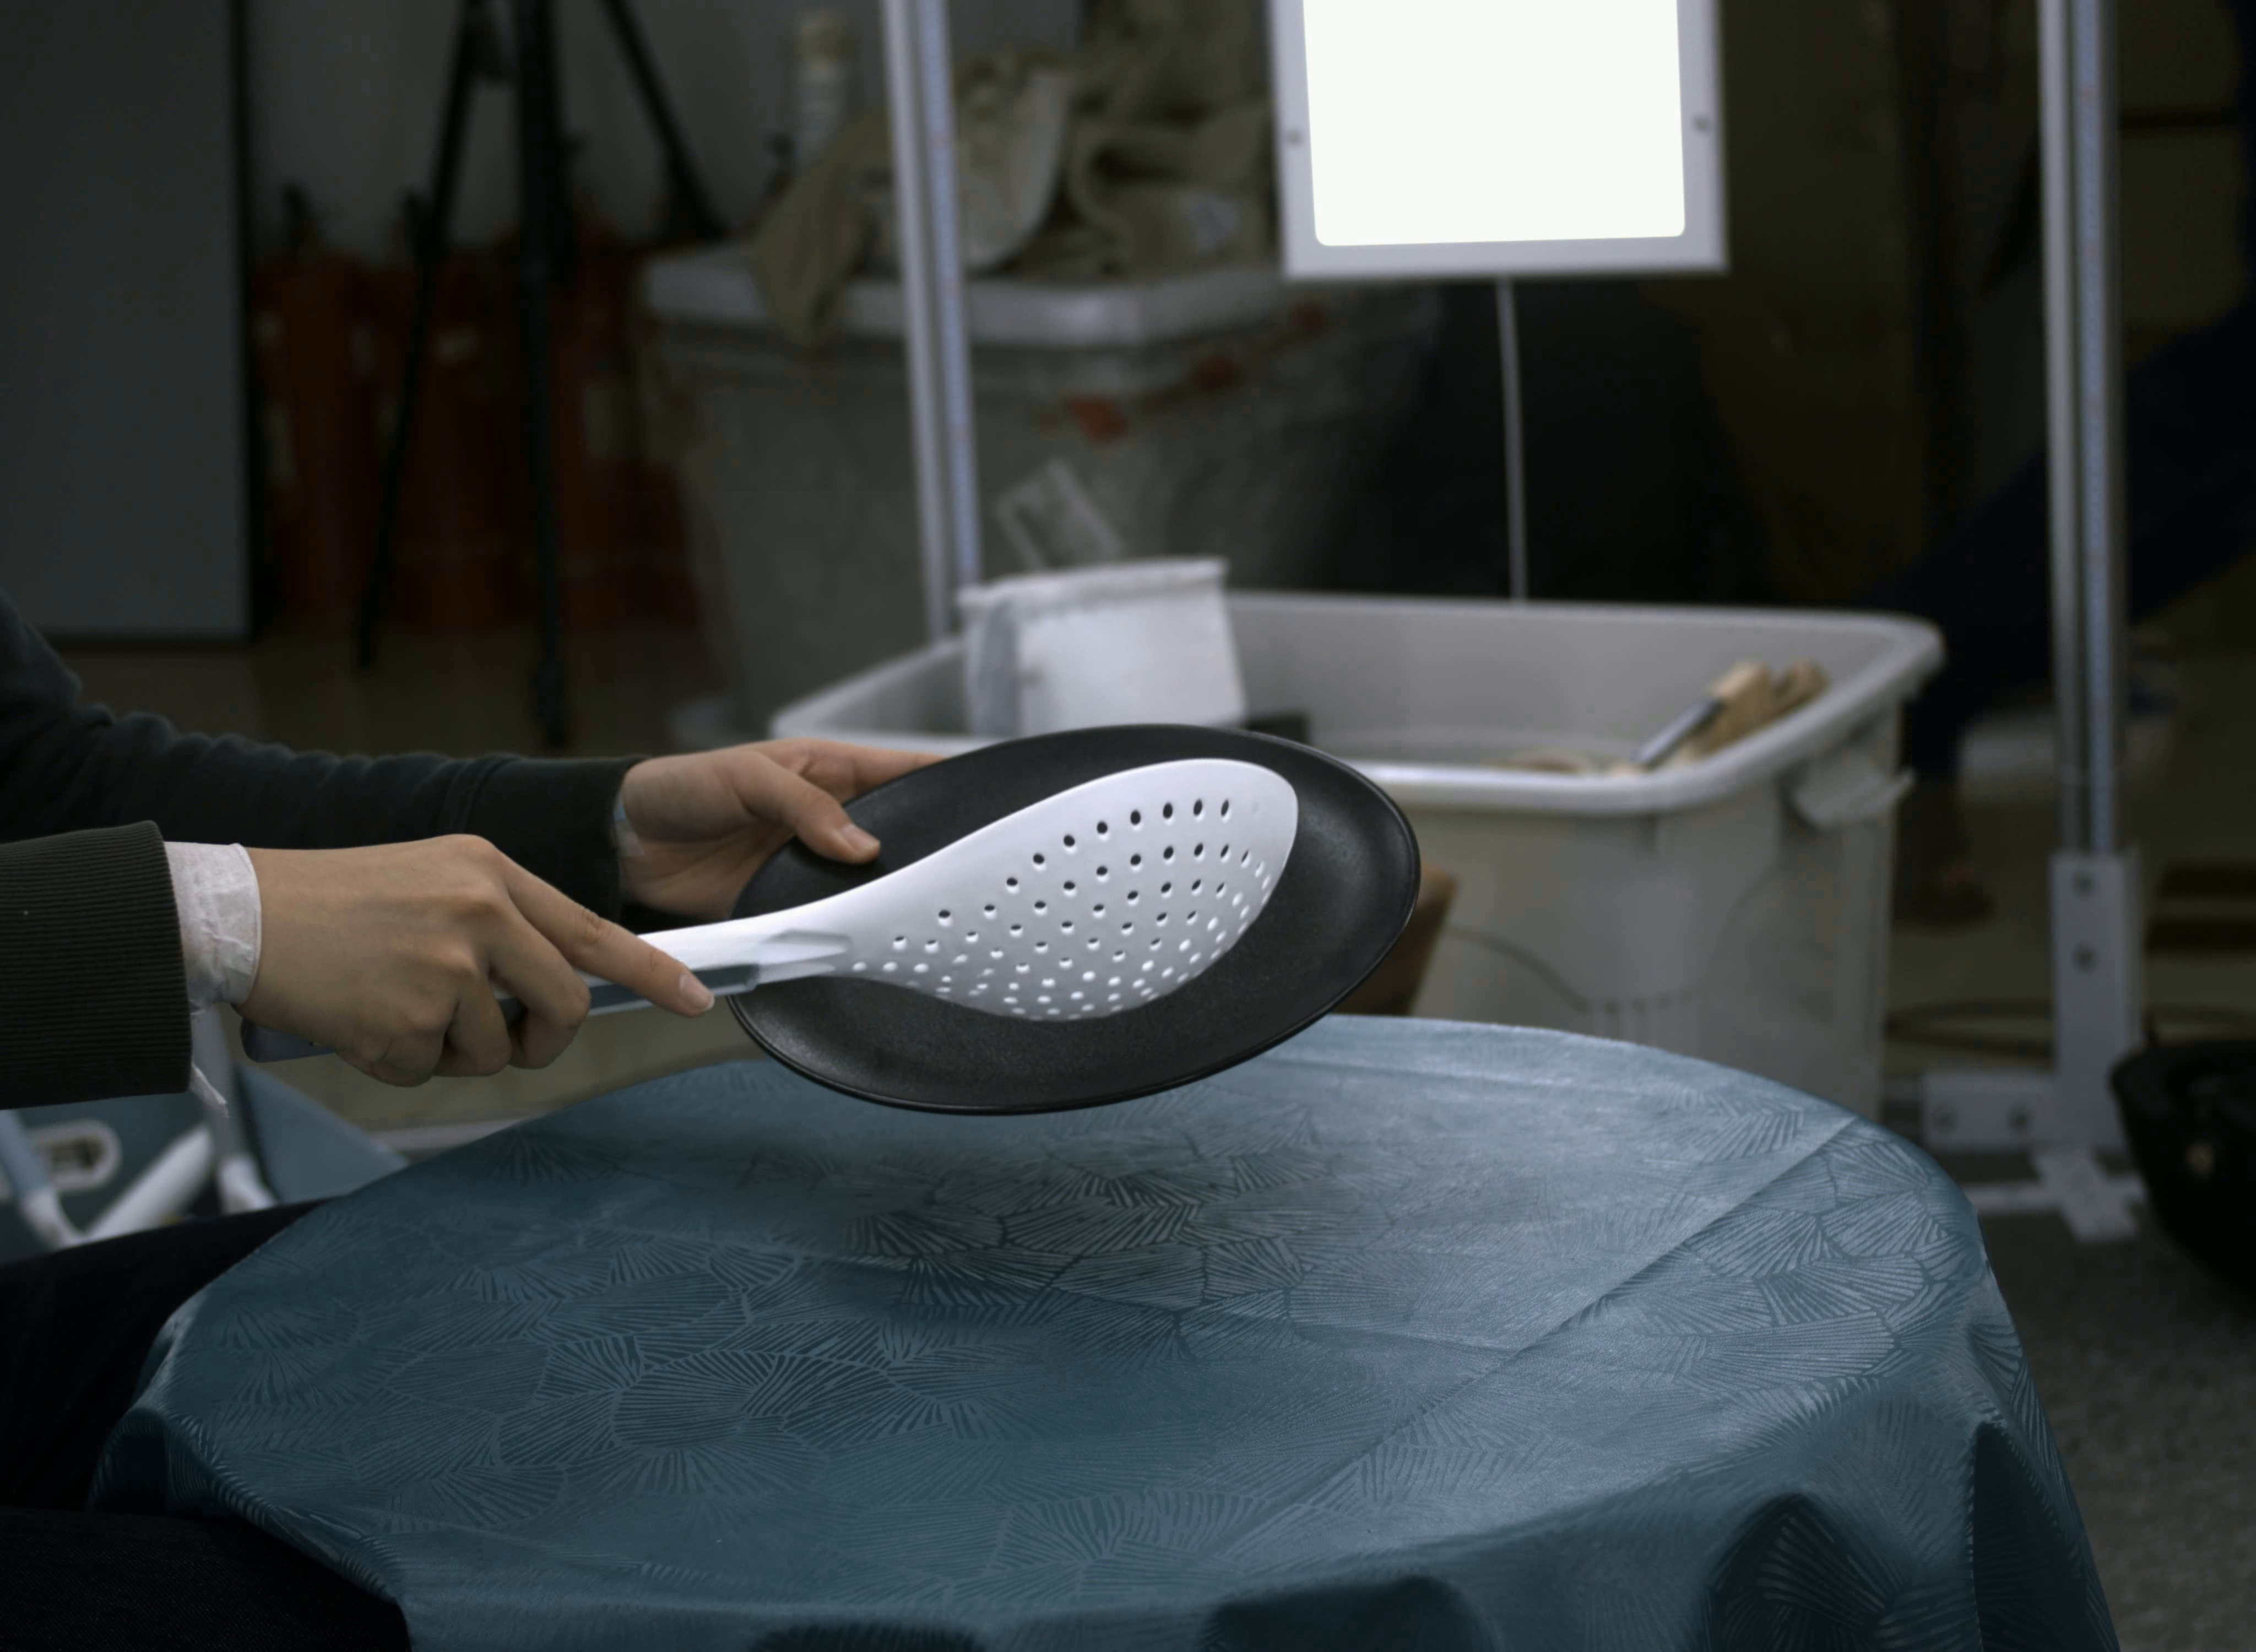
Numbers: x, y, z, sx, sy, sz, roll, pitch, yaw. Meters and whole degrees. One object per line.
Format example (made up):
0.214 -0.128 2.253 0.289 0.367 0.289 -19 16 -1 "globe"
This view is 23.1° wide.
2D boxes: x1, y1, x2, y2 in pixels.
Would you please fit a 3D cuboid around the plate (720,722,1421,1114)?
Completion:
-0.019 0.035 1.881 0.244 0.023 0.244 -9 30 4 "plate"

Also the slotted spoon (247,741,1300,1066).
-0.102 0.034 1.700 0.343 0.046 0.138 -5 -31 -21 "slotted spoon"
